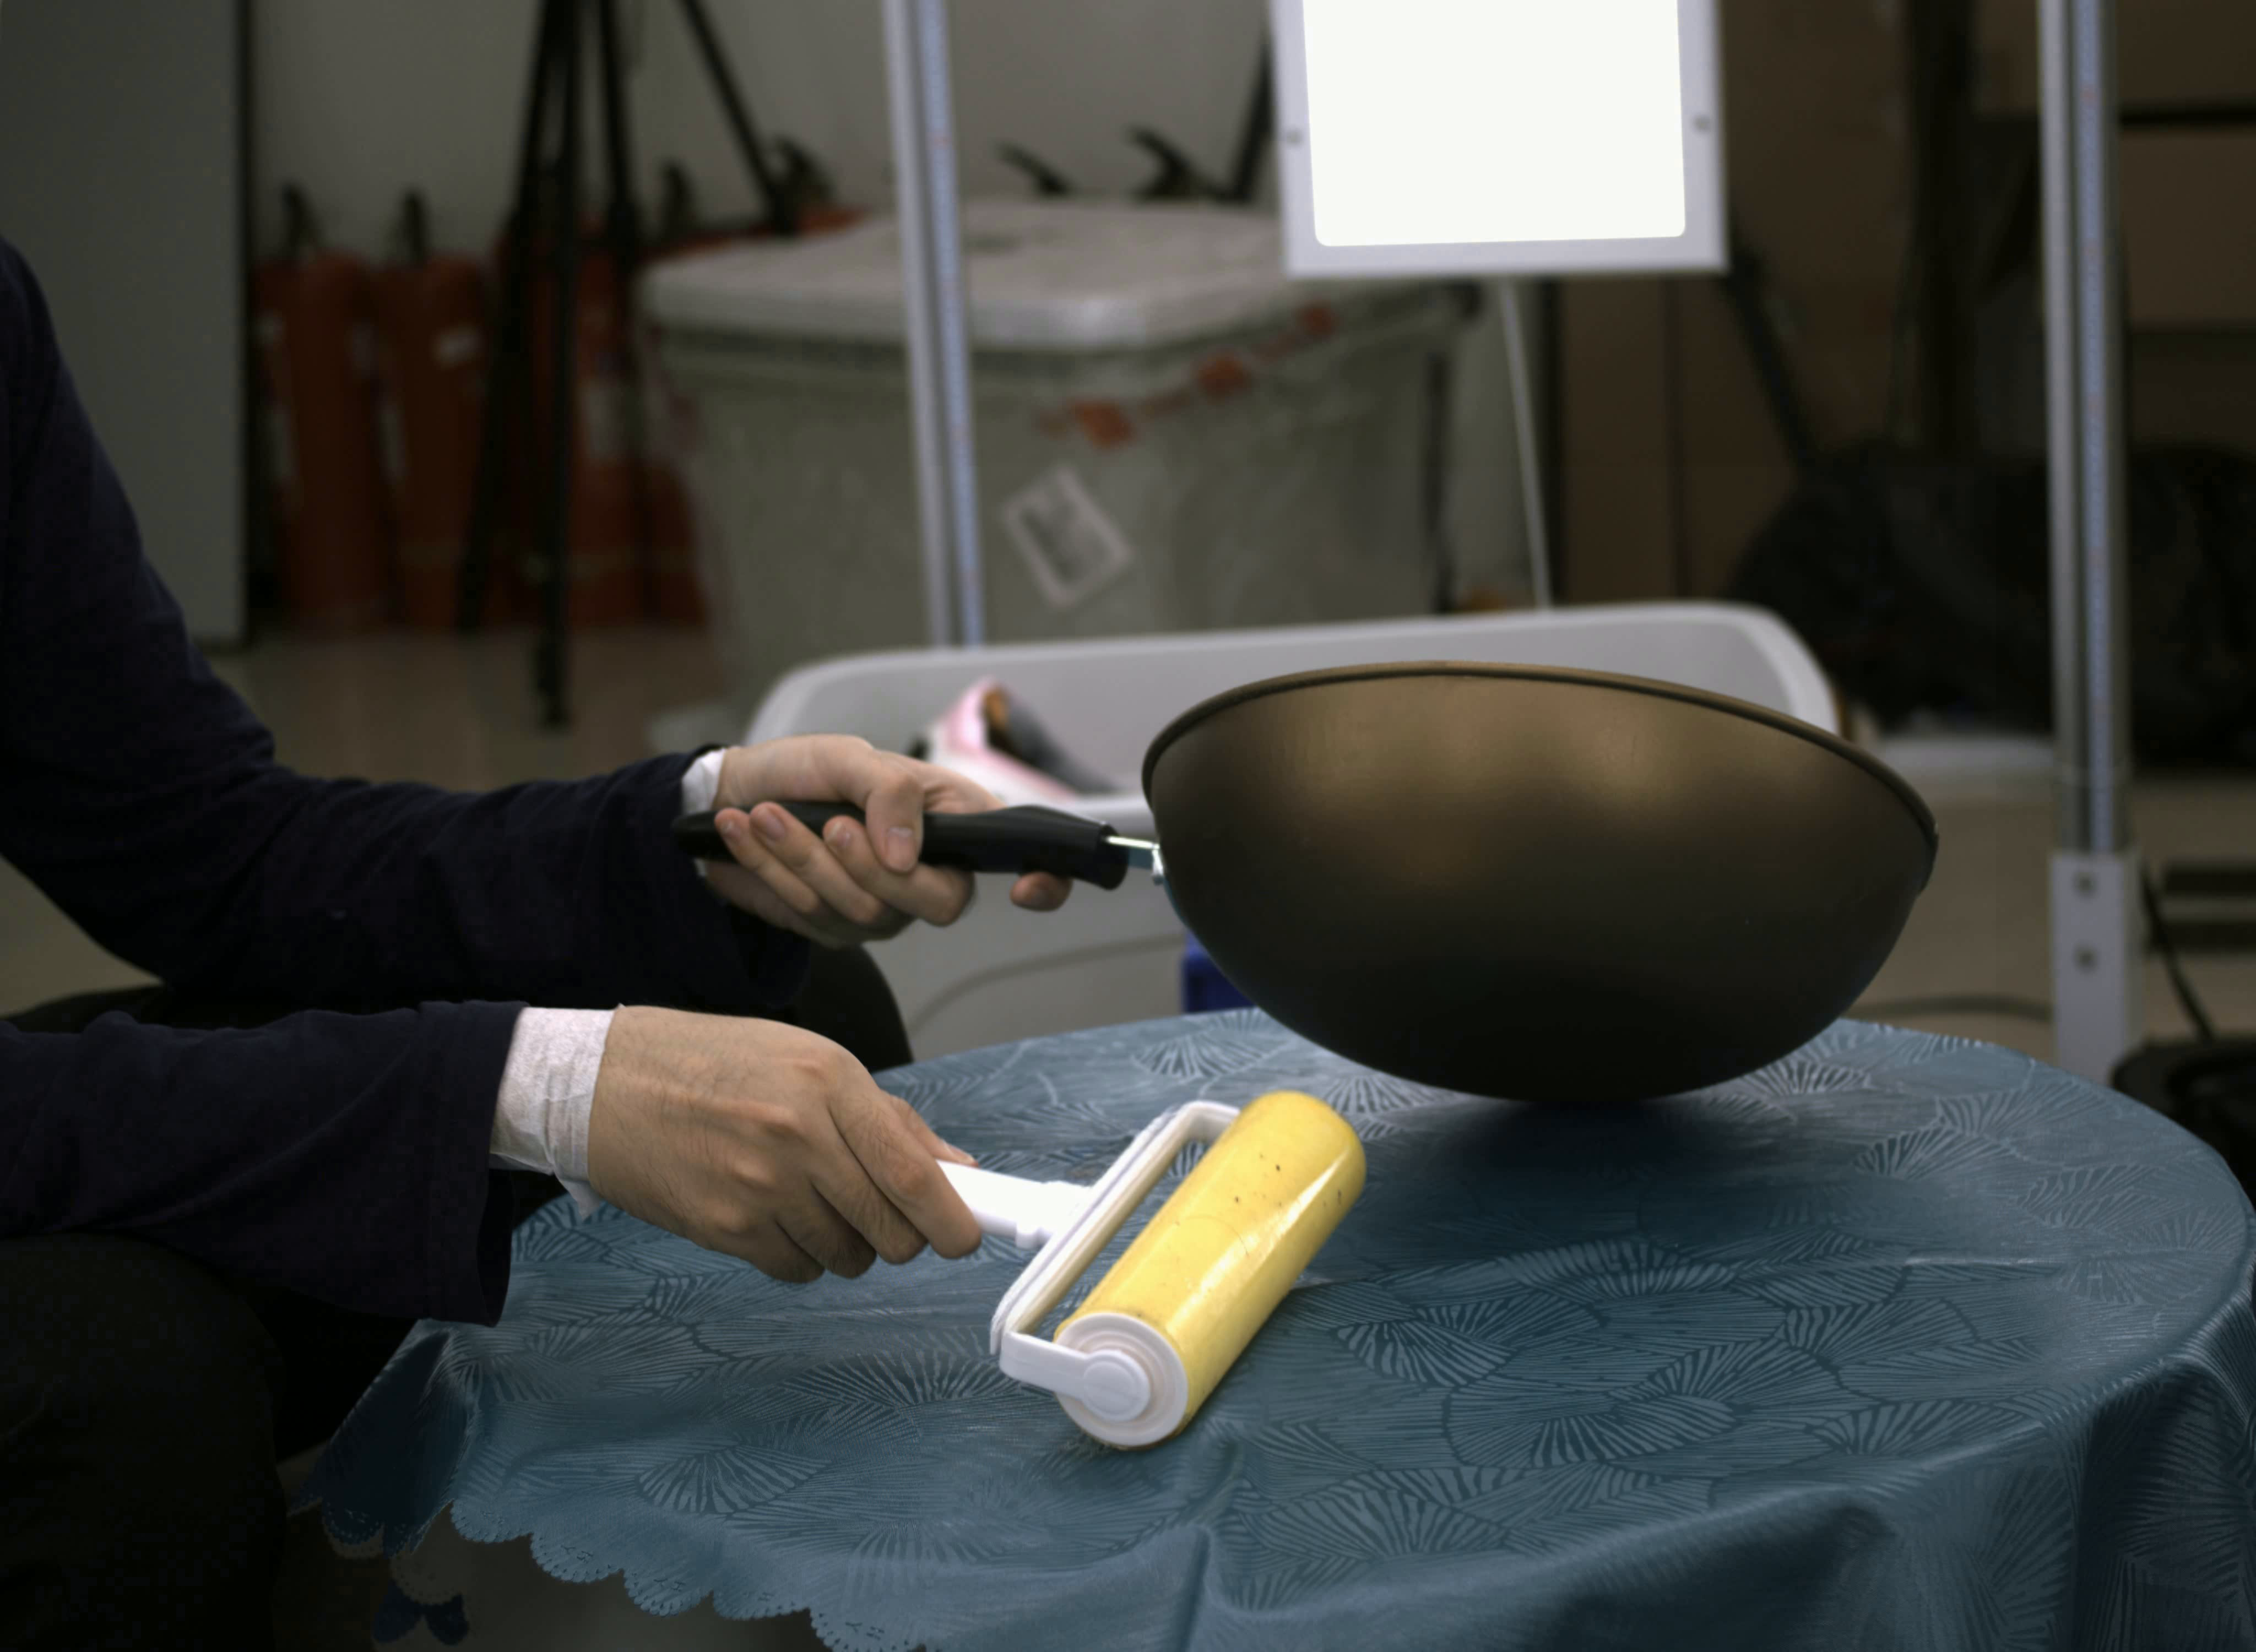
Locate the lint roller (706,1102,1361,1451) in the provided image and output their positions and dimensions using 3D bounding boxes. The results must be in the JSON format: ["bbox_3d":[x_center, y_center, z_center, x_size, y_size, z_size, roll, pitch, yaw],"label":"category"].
[{"bbox_3d":[-0.041,0.114,1.719,0.193,0.052,0.171,21,28,15],"label":"lint roller"}]

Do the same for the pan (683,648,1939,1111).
[{"bbox_3d":[0.051,0.033,1.922,0.470,0.086,0.285,0,-24,21],"label":"pan"}]
